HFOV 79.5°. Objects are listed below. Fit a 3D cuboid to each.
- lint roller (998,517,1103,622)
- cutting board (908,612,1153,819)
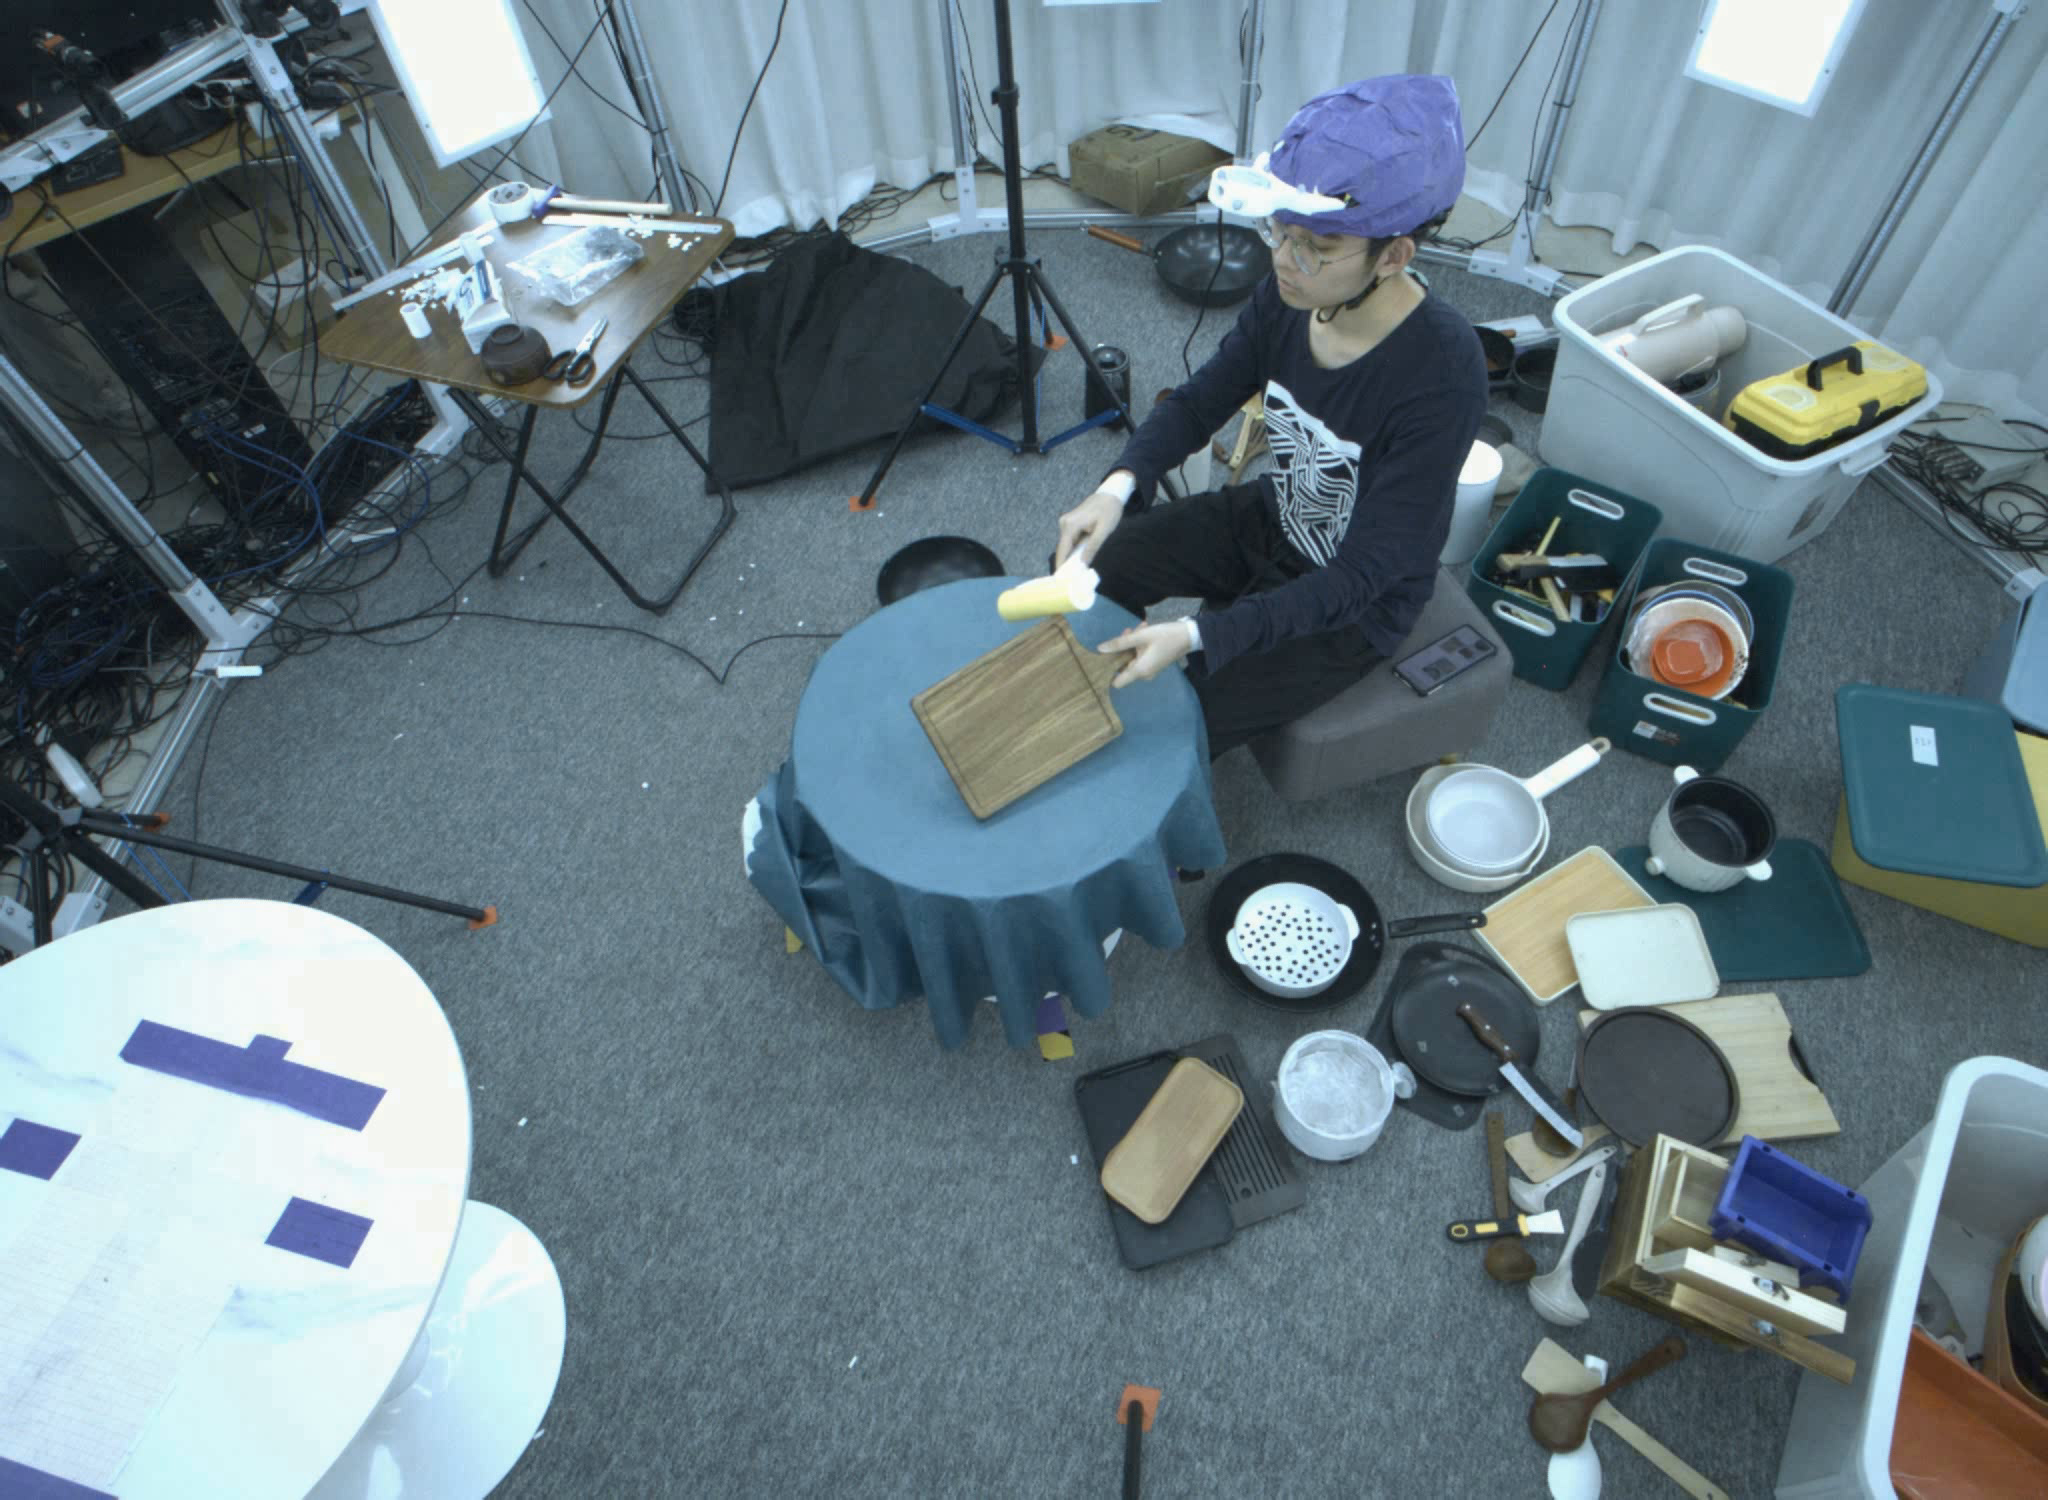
[{"bbox_3d":[0.061,-0.273,1.778,0.170,0.052,0.192,-1,58,48],"label":"lint roller"},{"bbox_3d":[0.033,-0.073,1.732,0.354,0.023,0.203,-31,103,-12],"label":"cutting board"}]
